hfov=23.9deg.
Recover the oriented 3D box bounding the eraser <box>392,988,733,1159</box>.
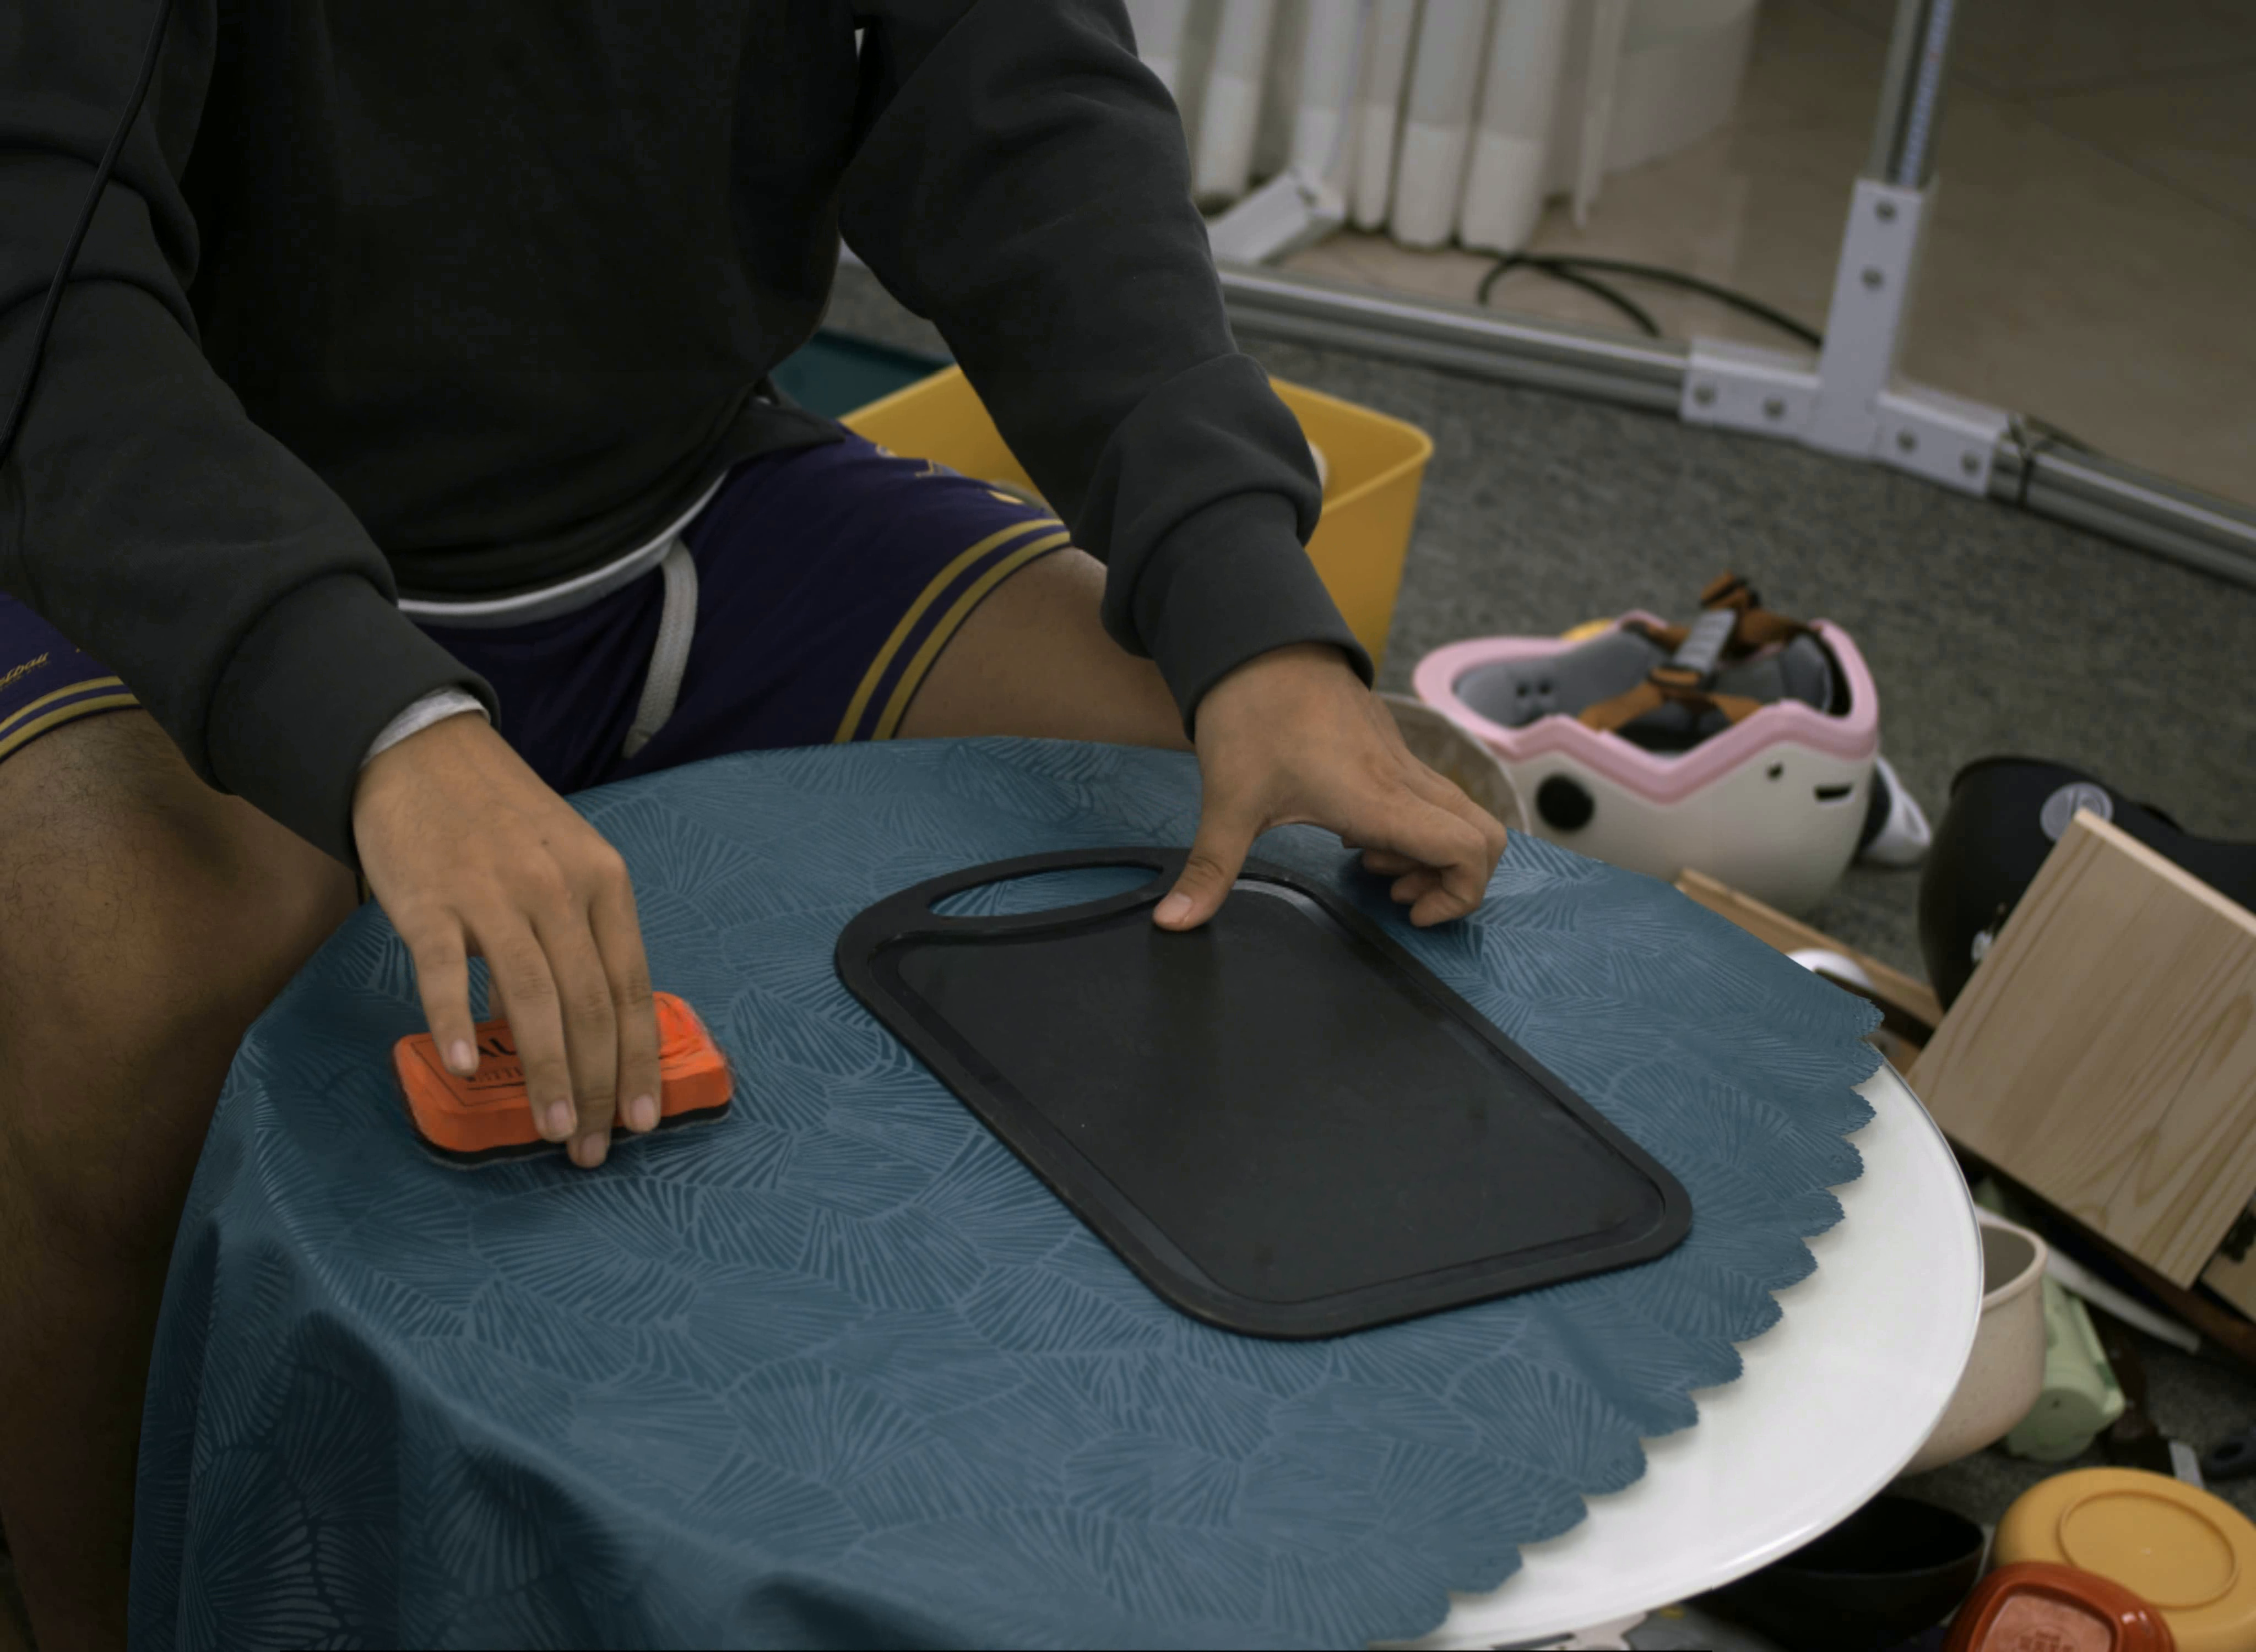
[{"bbox_3d":[-0.191,0.084,1.805,0.107,0.023,0.059,-8,30,-30],"label":"eraser"}]

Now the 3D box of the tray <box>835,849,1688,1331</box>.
[{"bbox_3d":[0.038,0.084,1.881,0.210,0.010,0.328,-9,31,-29],"label":"tray"}]
